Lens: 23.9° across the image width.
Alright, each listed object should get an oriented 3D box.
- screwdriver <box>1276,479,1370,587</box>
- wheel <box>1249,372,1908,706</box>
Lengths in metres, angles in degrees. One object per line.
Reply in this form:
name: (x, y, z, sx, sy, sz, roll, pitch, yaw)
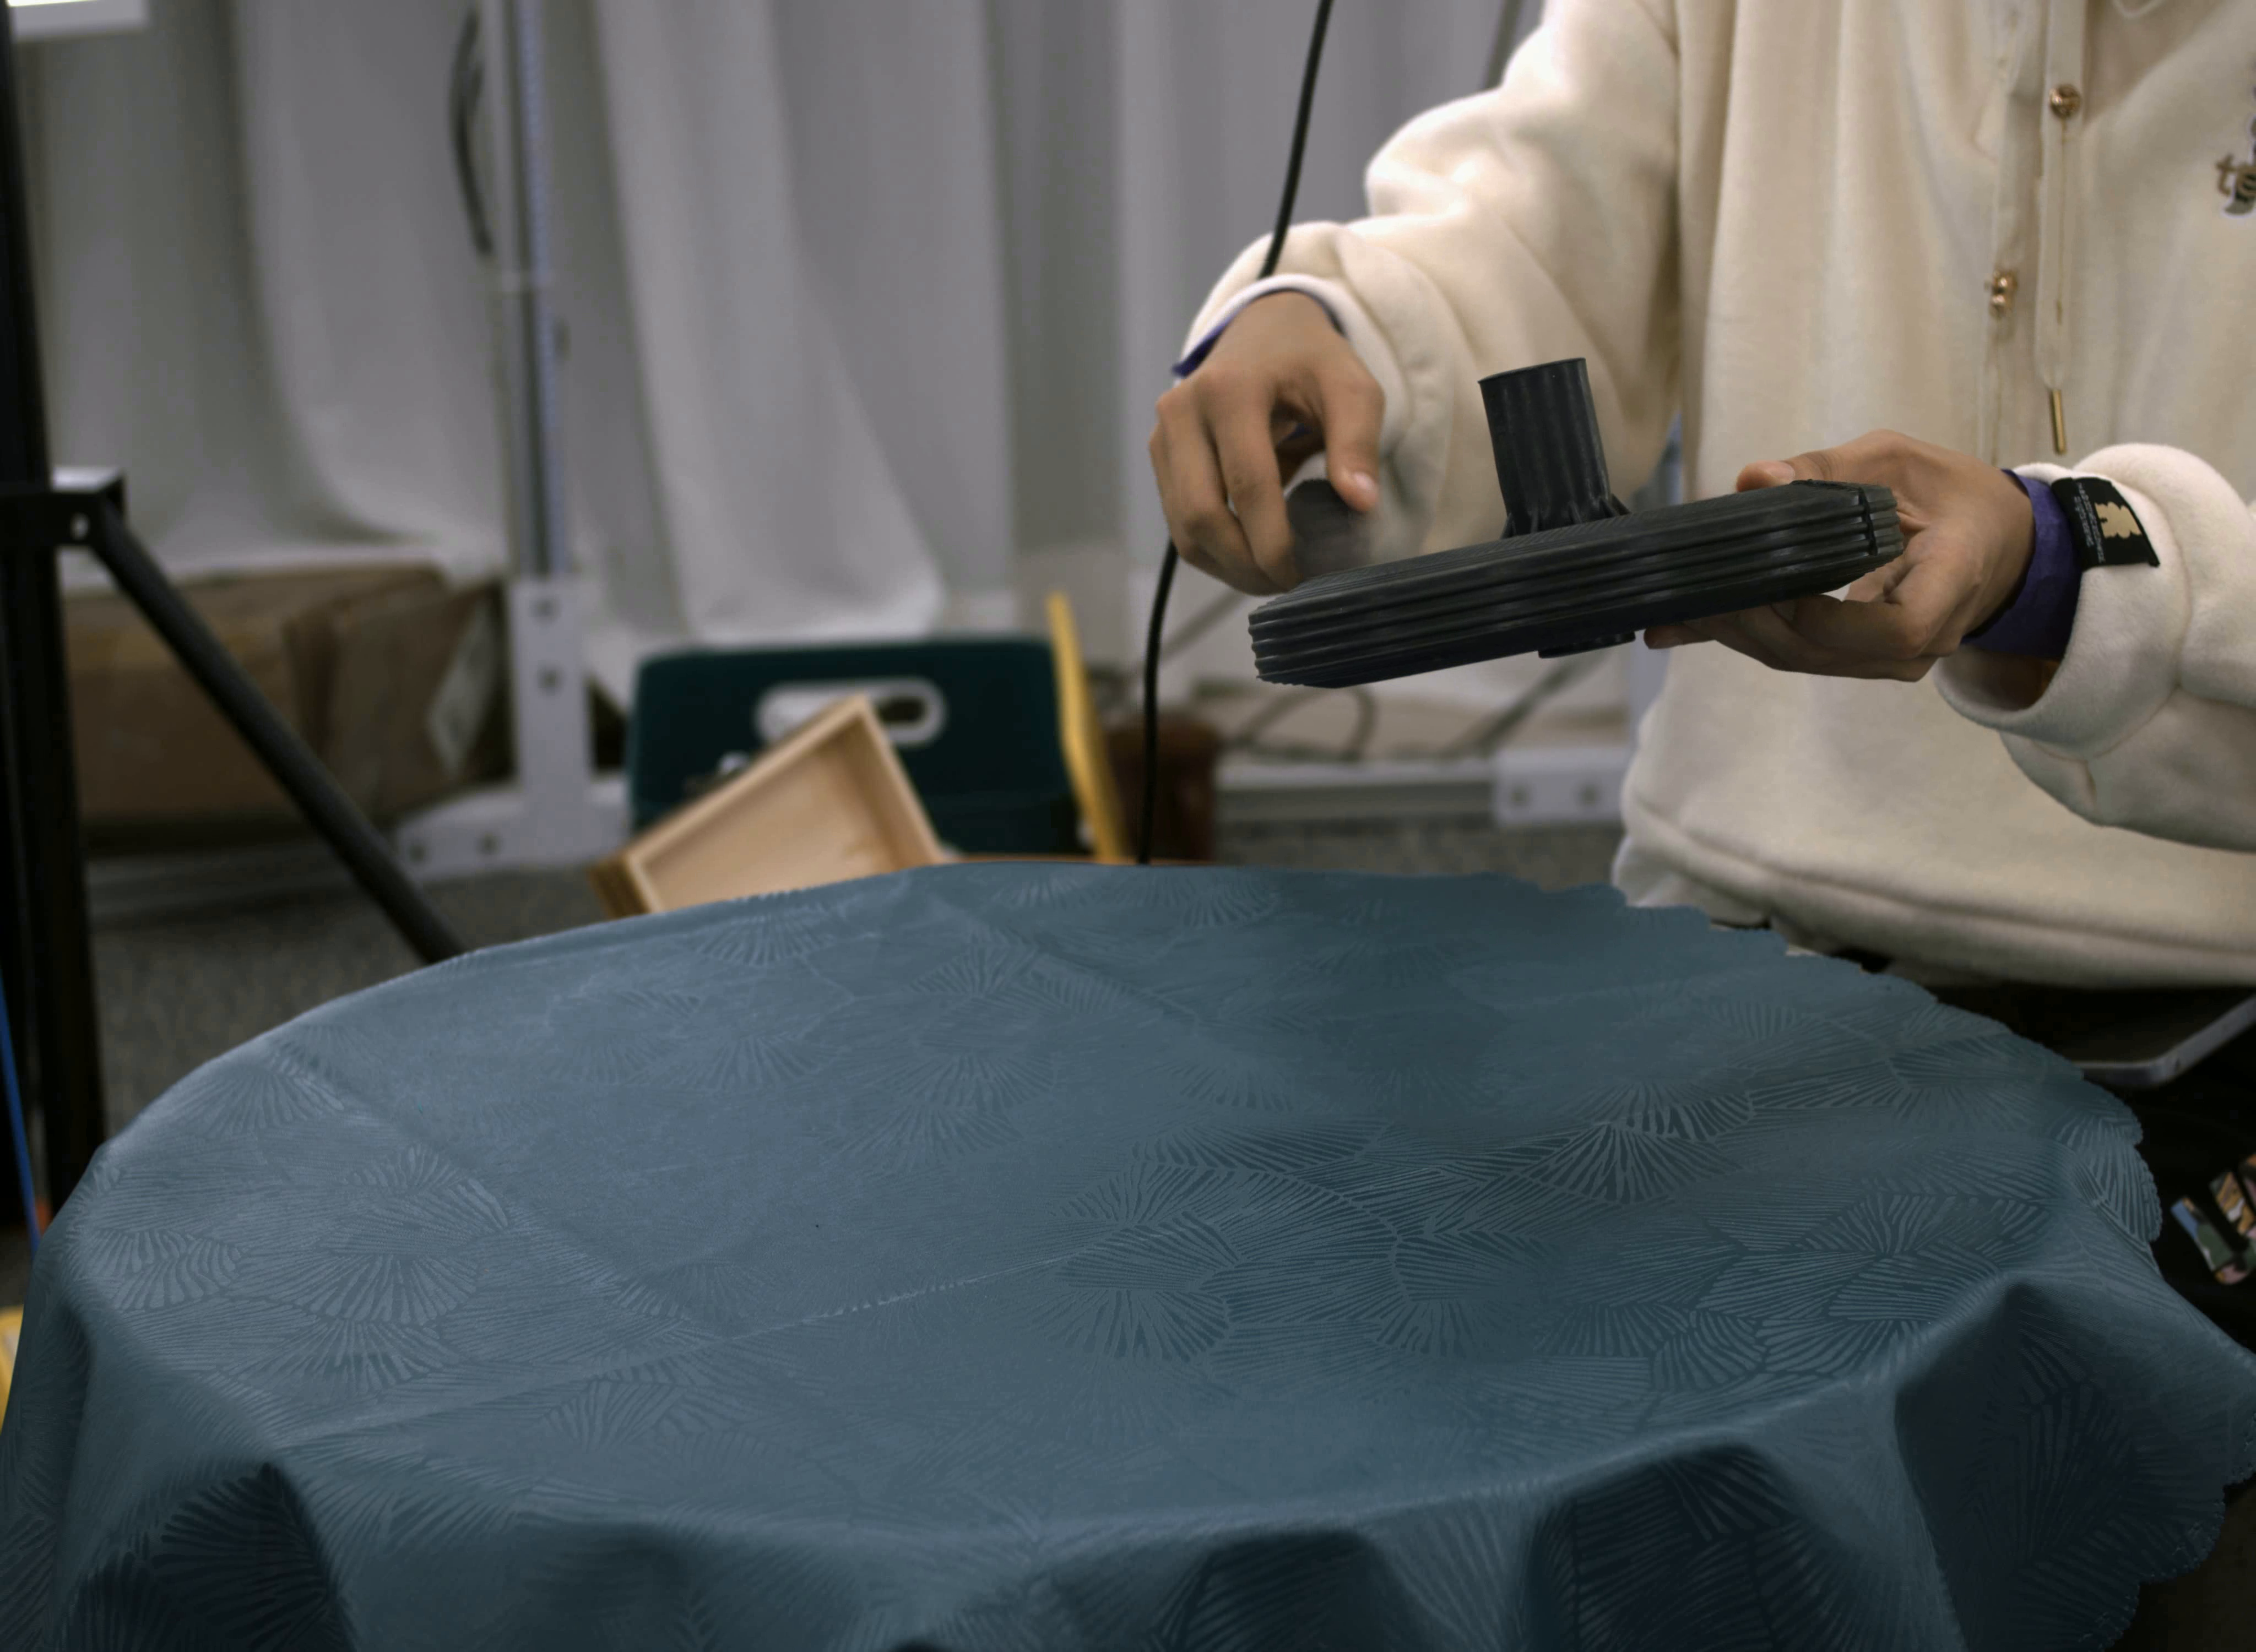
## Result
screwdriver: (0.066, -0.091, 1.669, 0.031, 0.031, 0.197, -2, 6, -2)
wheel: (0.122, -0.086, 1.506, 0.186, 0.079, 0.190, -14, 1, -20)
